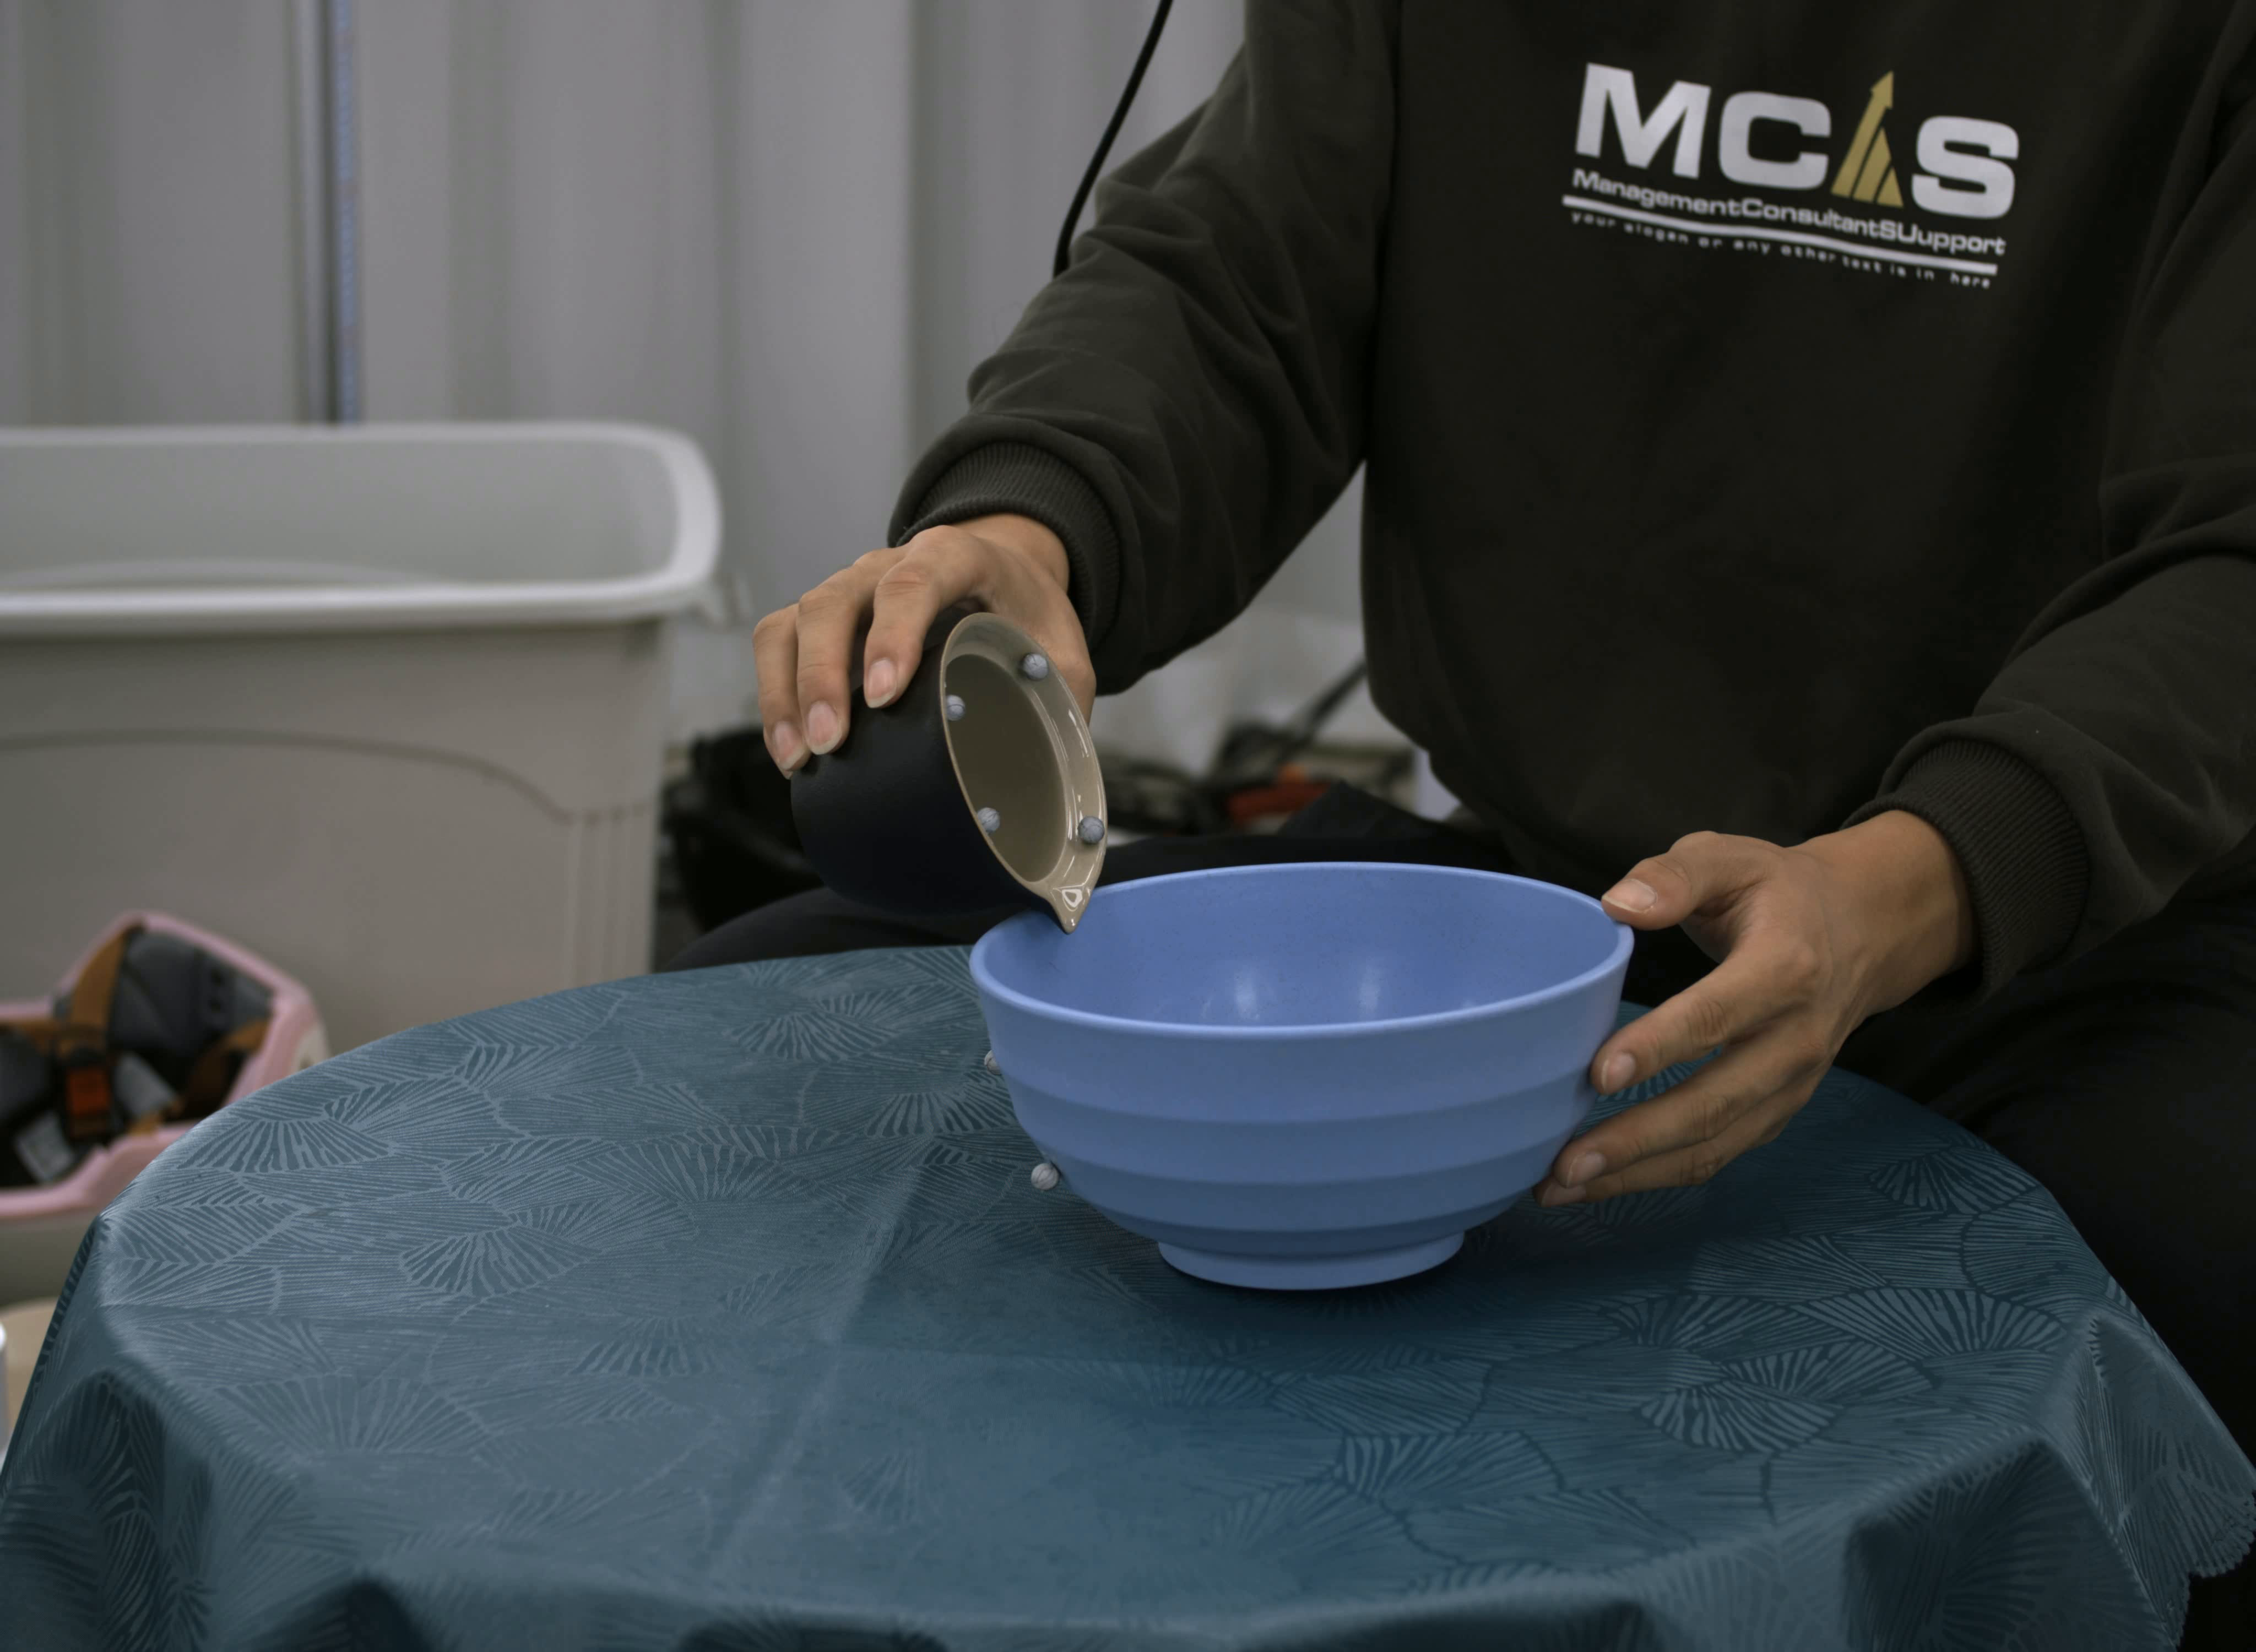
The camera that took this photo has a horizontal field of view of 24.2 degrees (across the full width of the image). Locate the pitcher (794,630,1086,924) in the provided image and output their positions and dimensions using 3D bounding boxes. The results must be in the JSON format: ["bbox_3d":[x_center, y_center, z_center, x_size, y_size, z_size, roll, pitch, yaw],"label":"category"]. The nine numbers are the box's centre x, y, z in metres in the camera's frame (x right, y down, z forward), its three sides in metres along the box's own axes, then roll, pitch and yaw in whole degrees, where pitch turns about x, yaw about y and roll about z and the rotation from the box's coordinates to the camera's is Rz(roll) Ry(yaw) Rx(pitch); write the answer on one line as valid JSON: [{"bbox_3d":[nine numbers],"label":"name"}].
[{"bbox_3d":[-0.059,-0.006,1.617,0.071,0.096,0.084,-19,-1,25],"label":"pitcher"}]

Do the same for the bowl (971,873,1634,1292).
[{"bbox_3d":[0.053,0.080,1.568,0.196,0.096,0.195,-1,12,1],"label":"bowl"}]
